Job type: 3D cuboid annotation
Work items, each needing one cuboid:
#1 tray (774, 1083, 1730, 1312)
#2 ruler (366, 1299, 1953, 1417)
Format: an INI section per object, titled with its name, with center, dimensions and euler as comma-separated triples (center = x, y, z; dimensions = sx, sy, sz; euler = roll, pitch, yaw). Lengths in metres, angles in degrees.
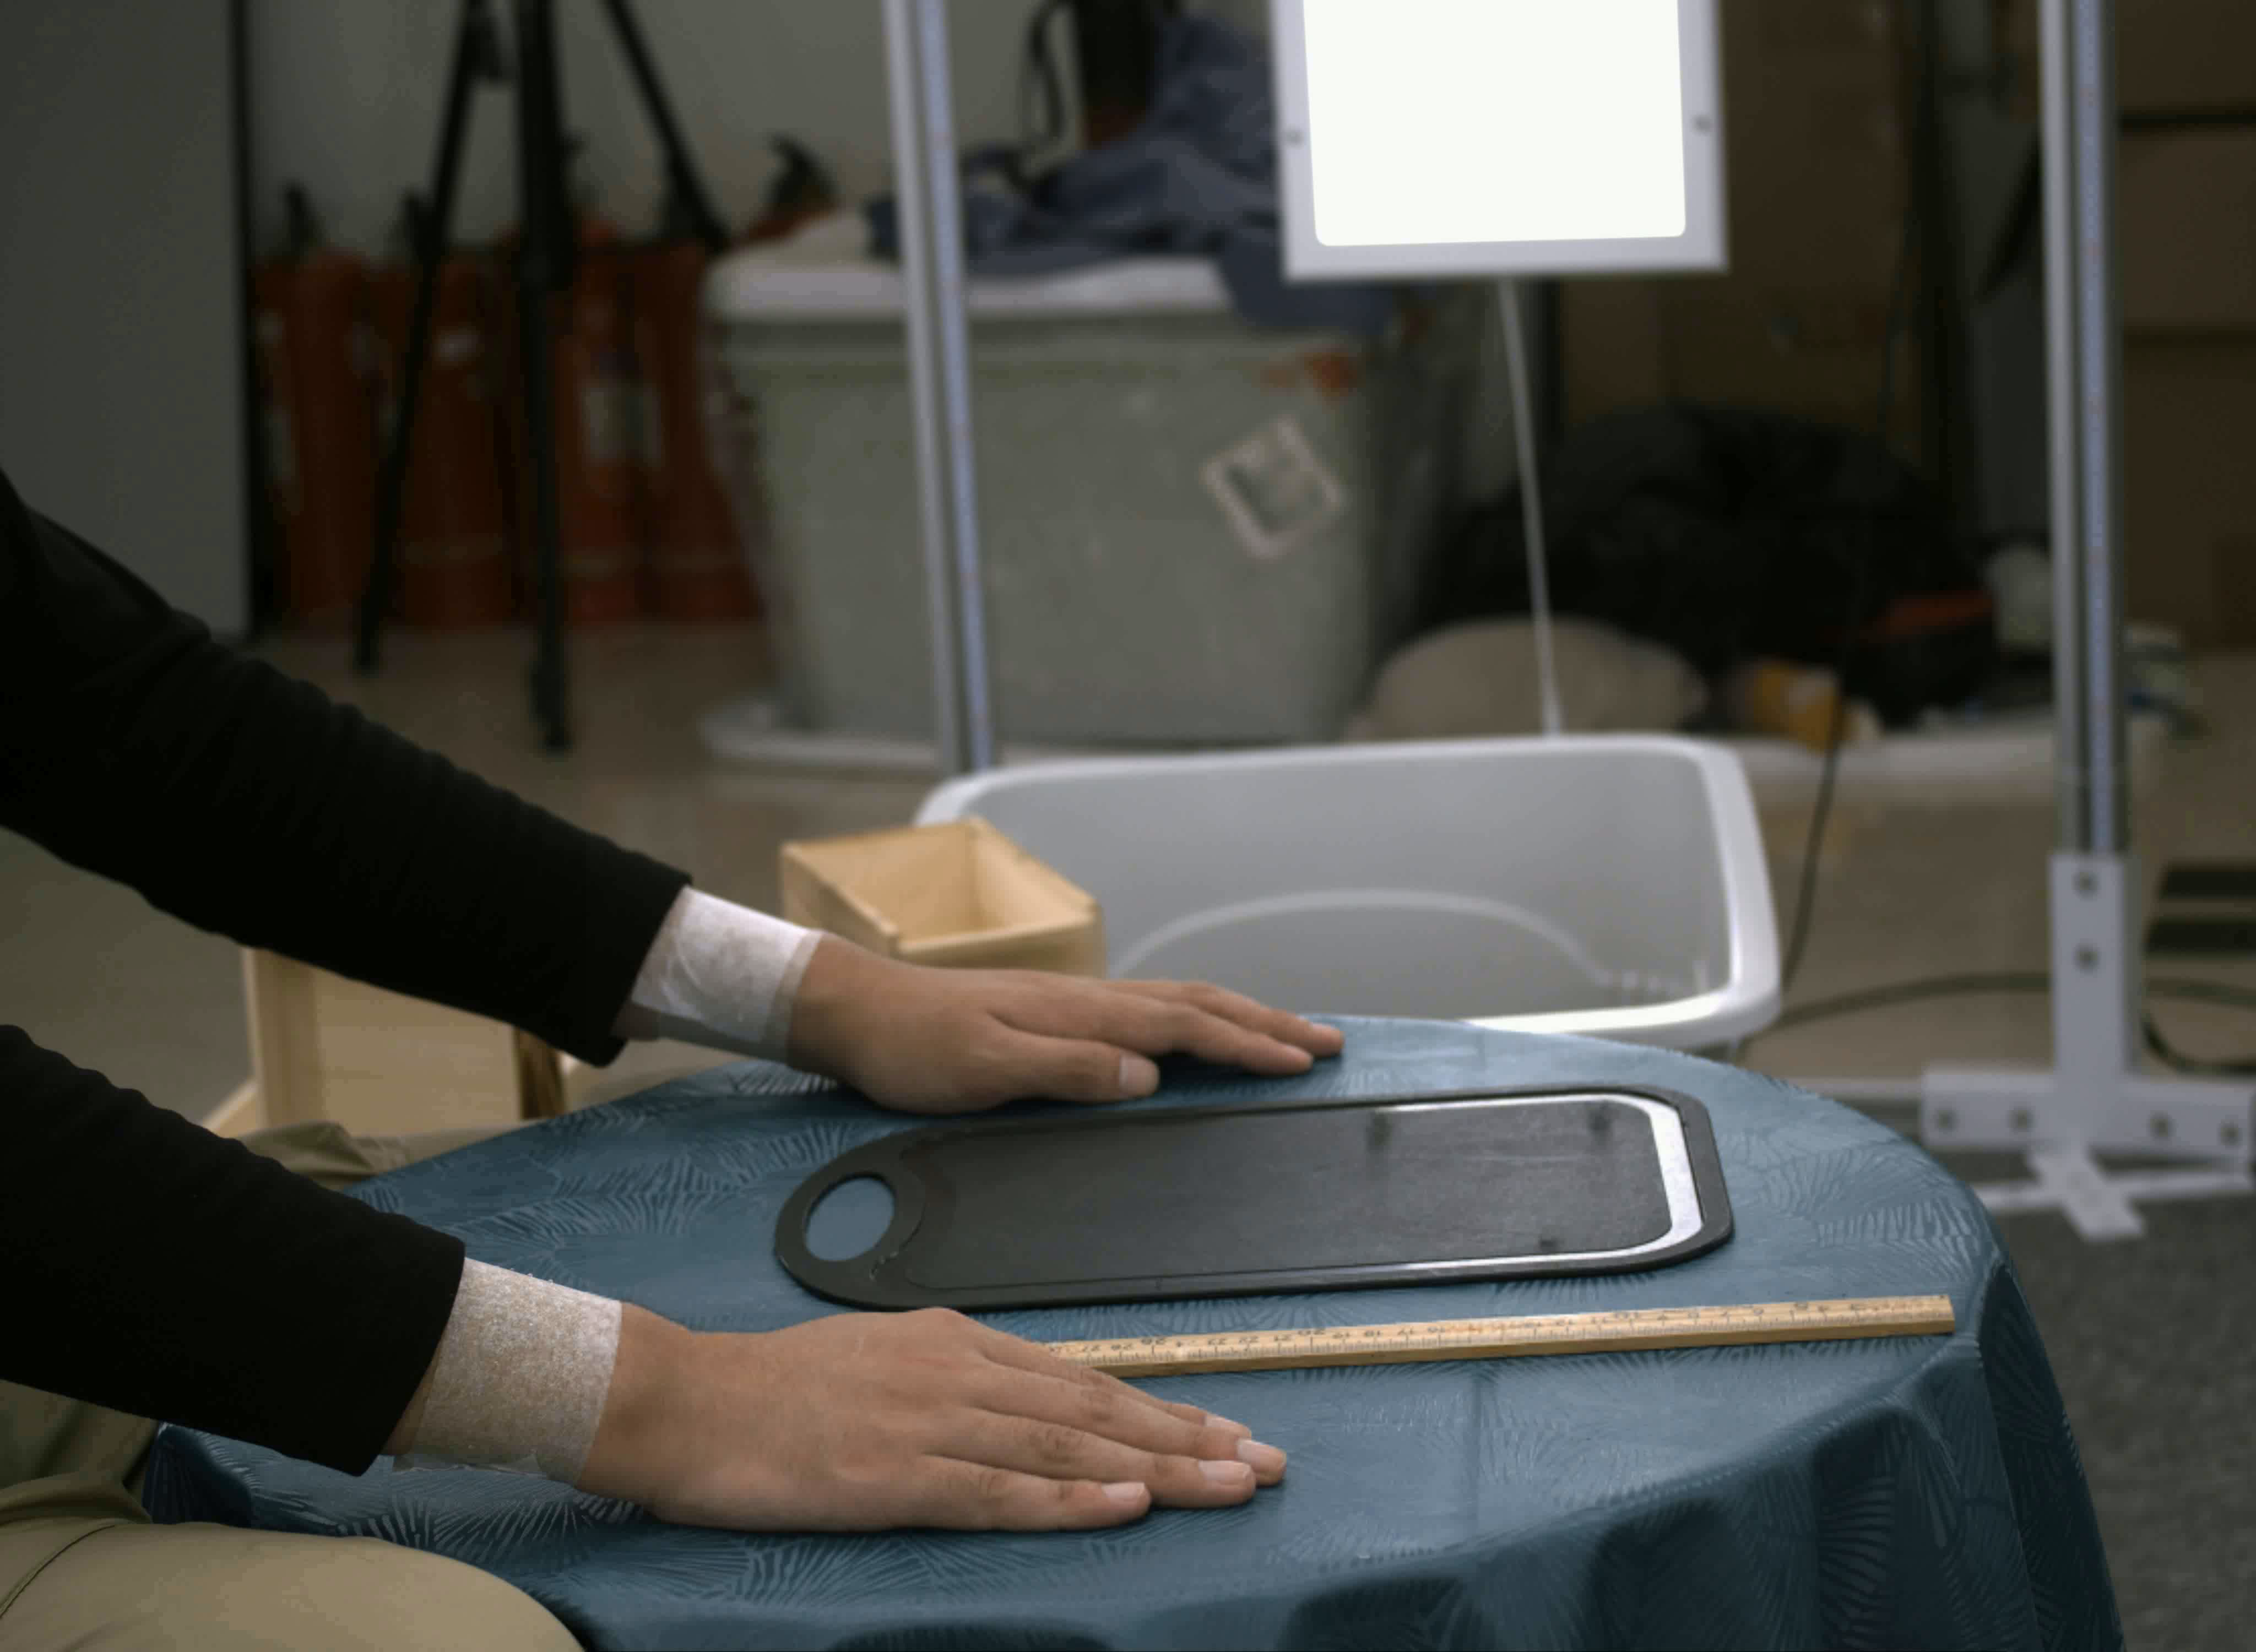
[tray]
center = 0.041, 0.124, 1.878
dimensions = 0.326, 0.010, 0.210
euler = -4, 14, 6
[ruler]
center = 0.008, 0.166, 1.723
dimensions = 0.502, 0.006, 0.026
euler = -4, 11, 7
